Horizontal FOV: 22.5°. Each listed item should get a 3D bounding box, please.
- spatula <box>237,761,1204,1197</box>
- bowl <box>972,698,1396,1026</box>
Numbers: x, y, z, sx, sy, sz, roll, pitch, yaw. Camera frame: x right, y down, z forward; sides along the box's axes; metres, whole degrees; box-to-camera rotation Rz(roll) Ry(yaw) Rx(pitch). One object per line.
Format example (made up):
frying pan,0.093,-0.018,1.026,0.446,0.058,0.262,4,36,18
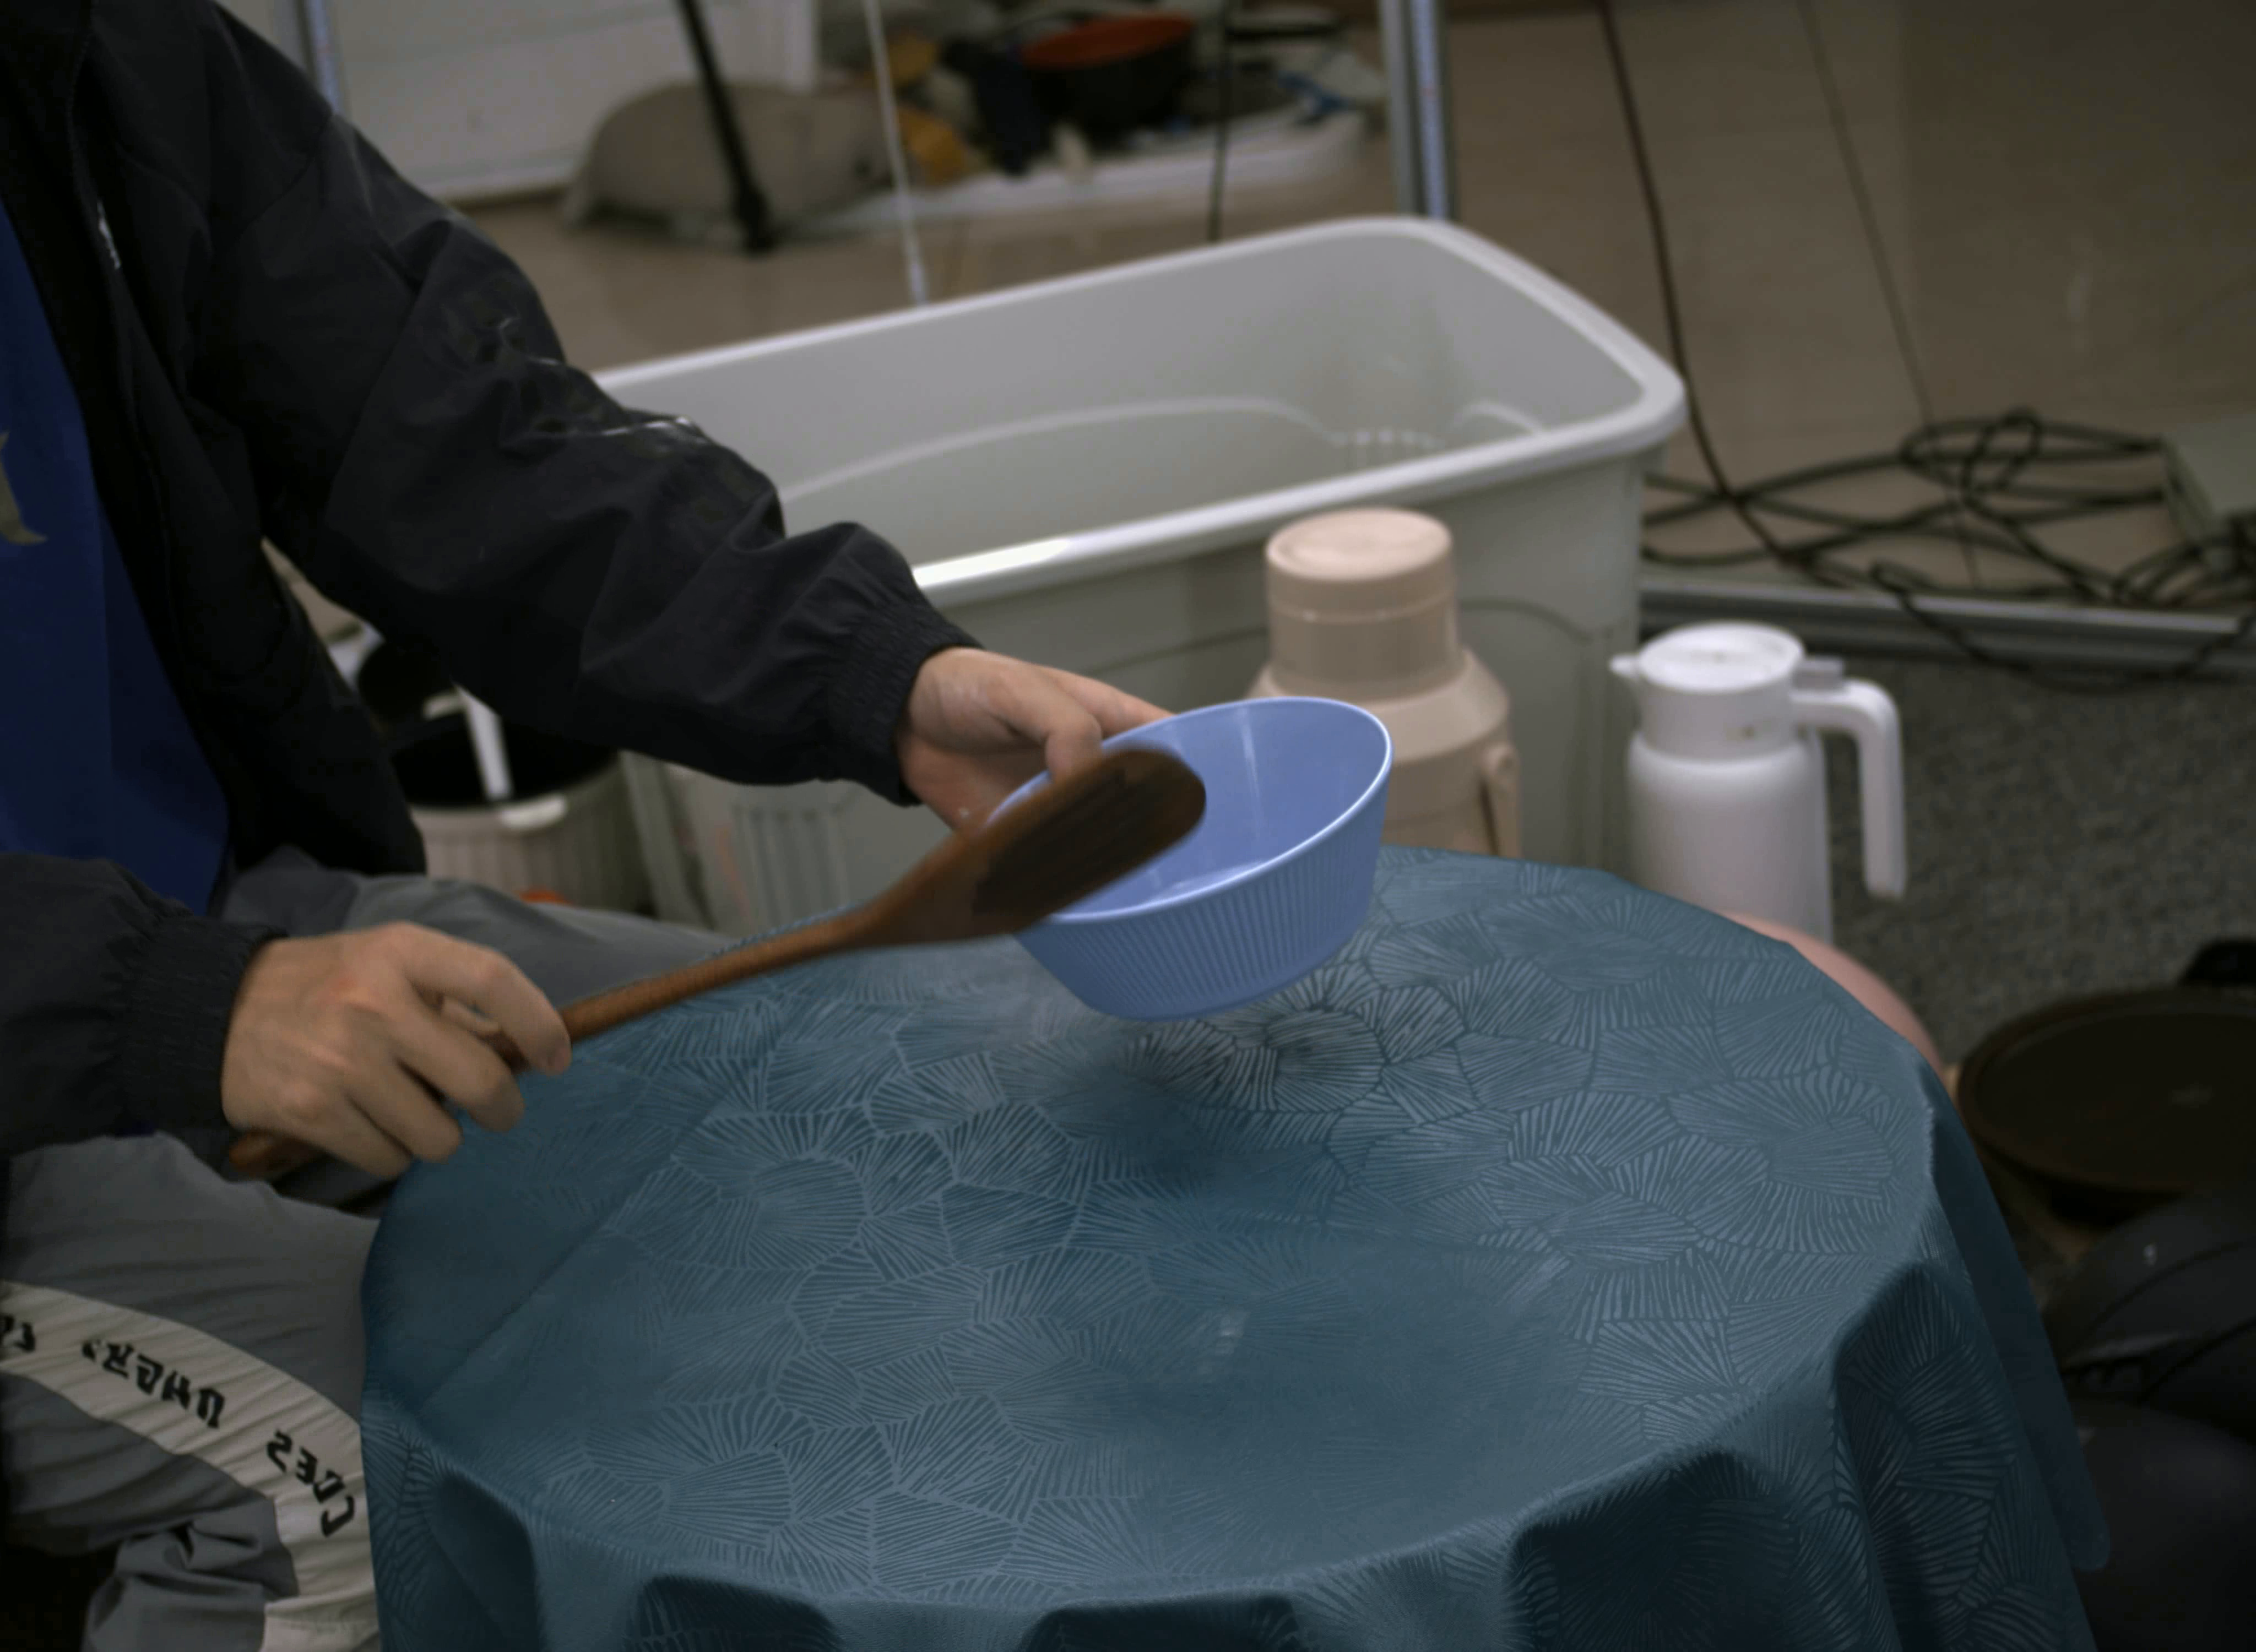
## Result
spatula,-0.151,0.062,2.028,0.387,0.086,0.023,-21,65,15
bowl,0.030,0.021,2.205,0.176,0.071,0.173,-17,23,8
